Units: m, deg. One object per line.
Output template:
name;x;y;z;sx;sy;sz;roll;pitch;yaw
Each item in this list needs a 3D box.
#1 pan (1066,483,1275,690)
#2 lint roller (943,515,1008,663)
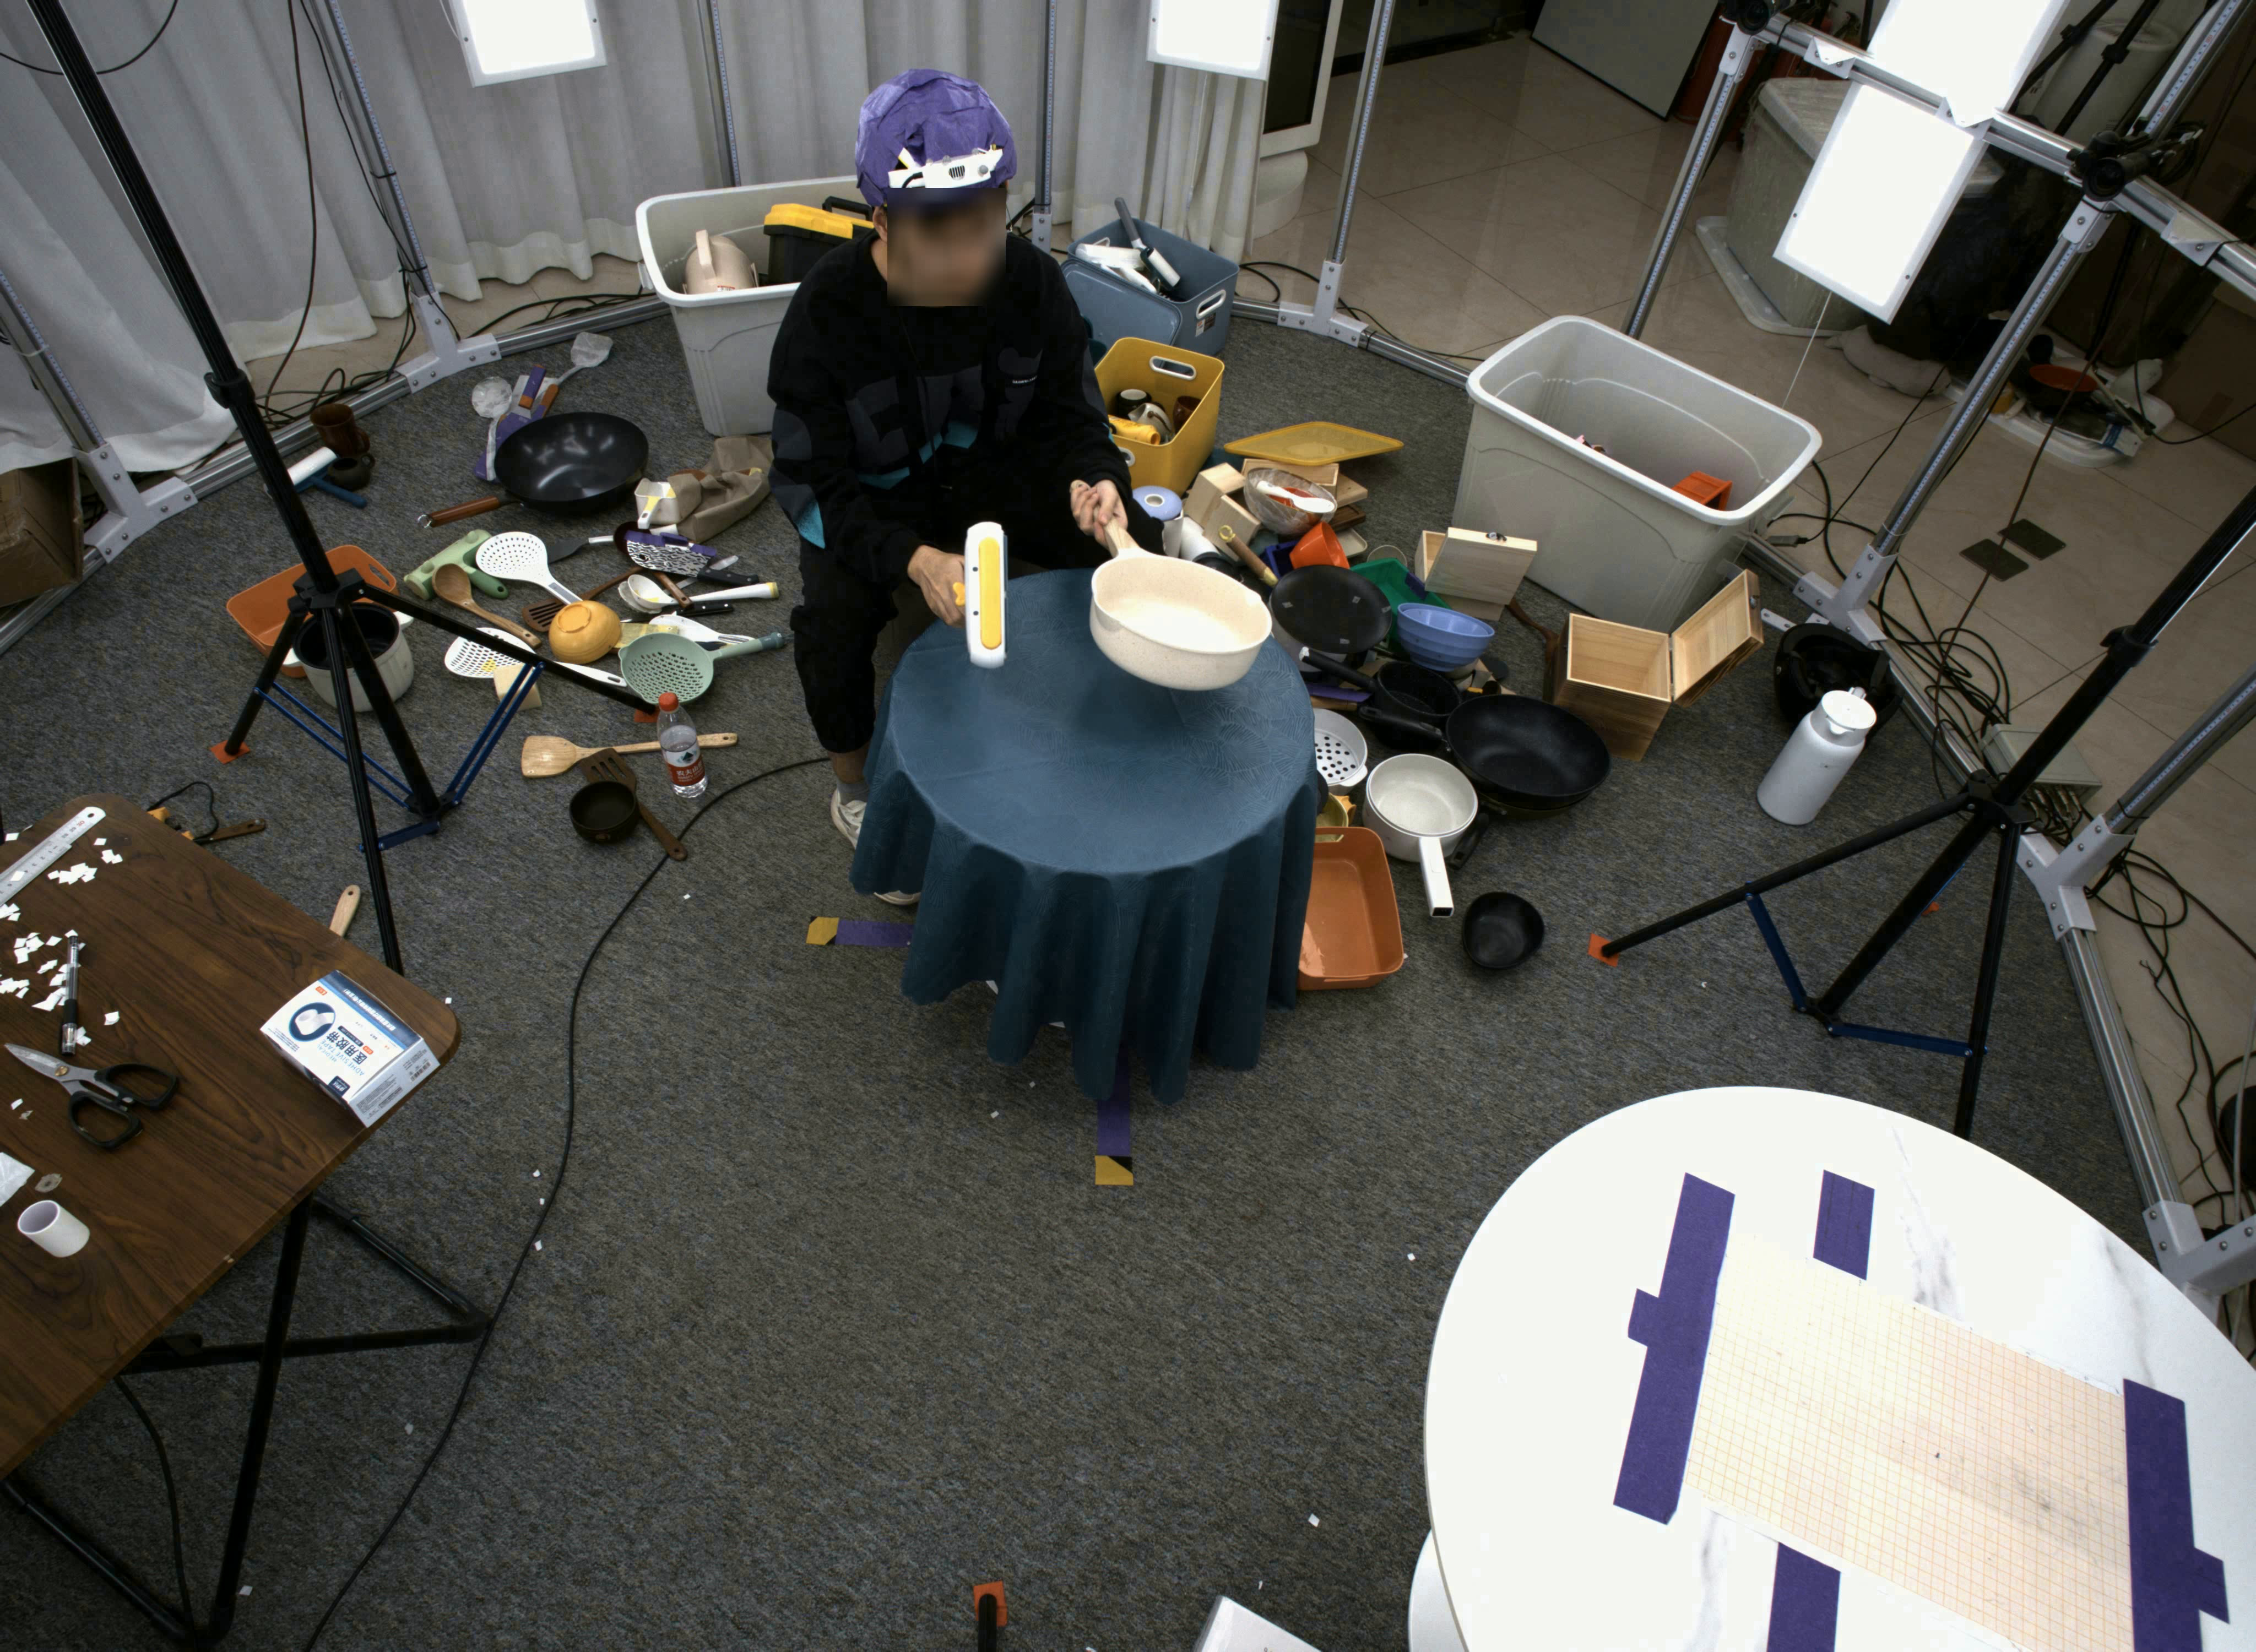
pan;0.023;-0.337;1.808;0.263;0.100;0.444;-12;44;-30
lint roller;-0.212;-0.313;1.764;0.074;0.192;0.193;-7;91;-15
